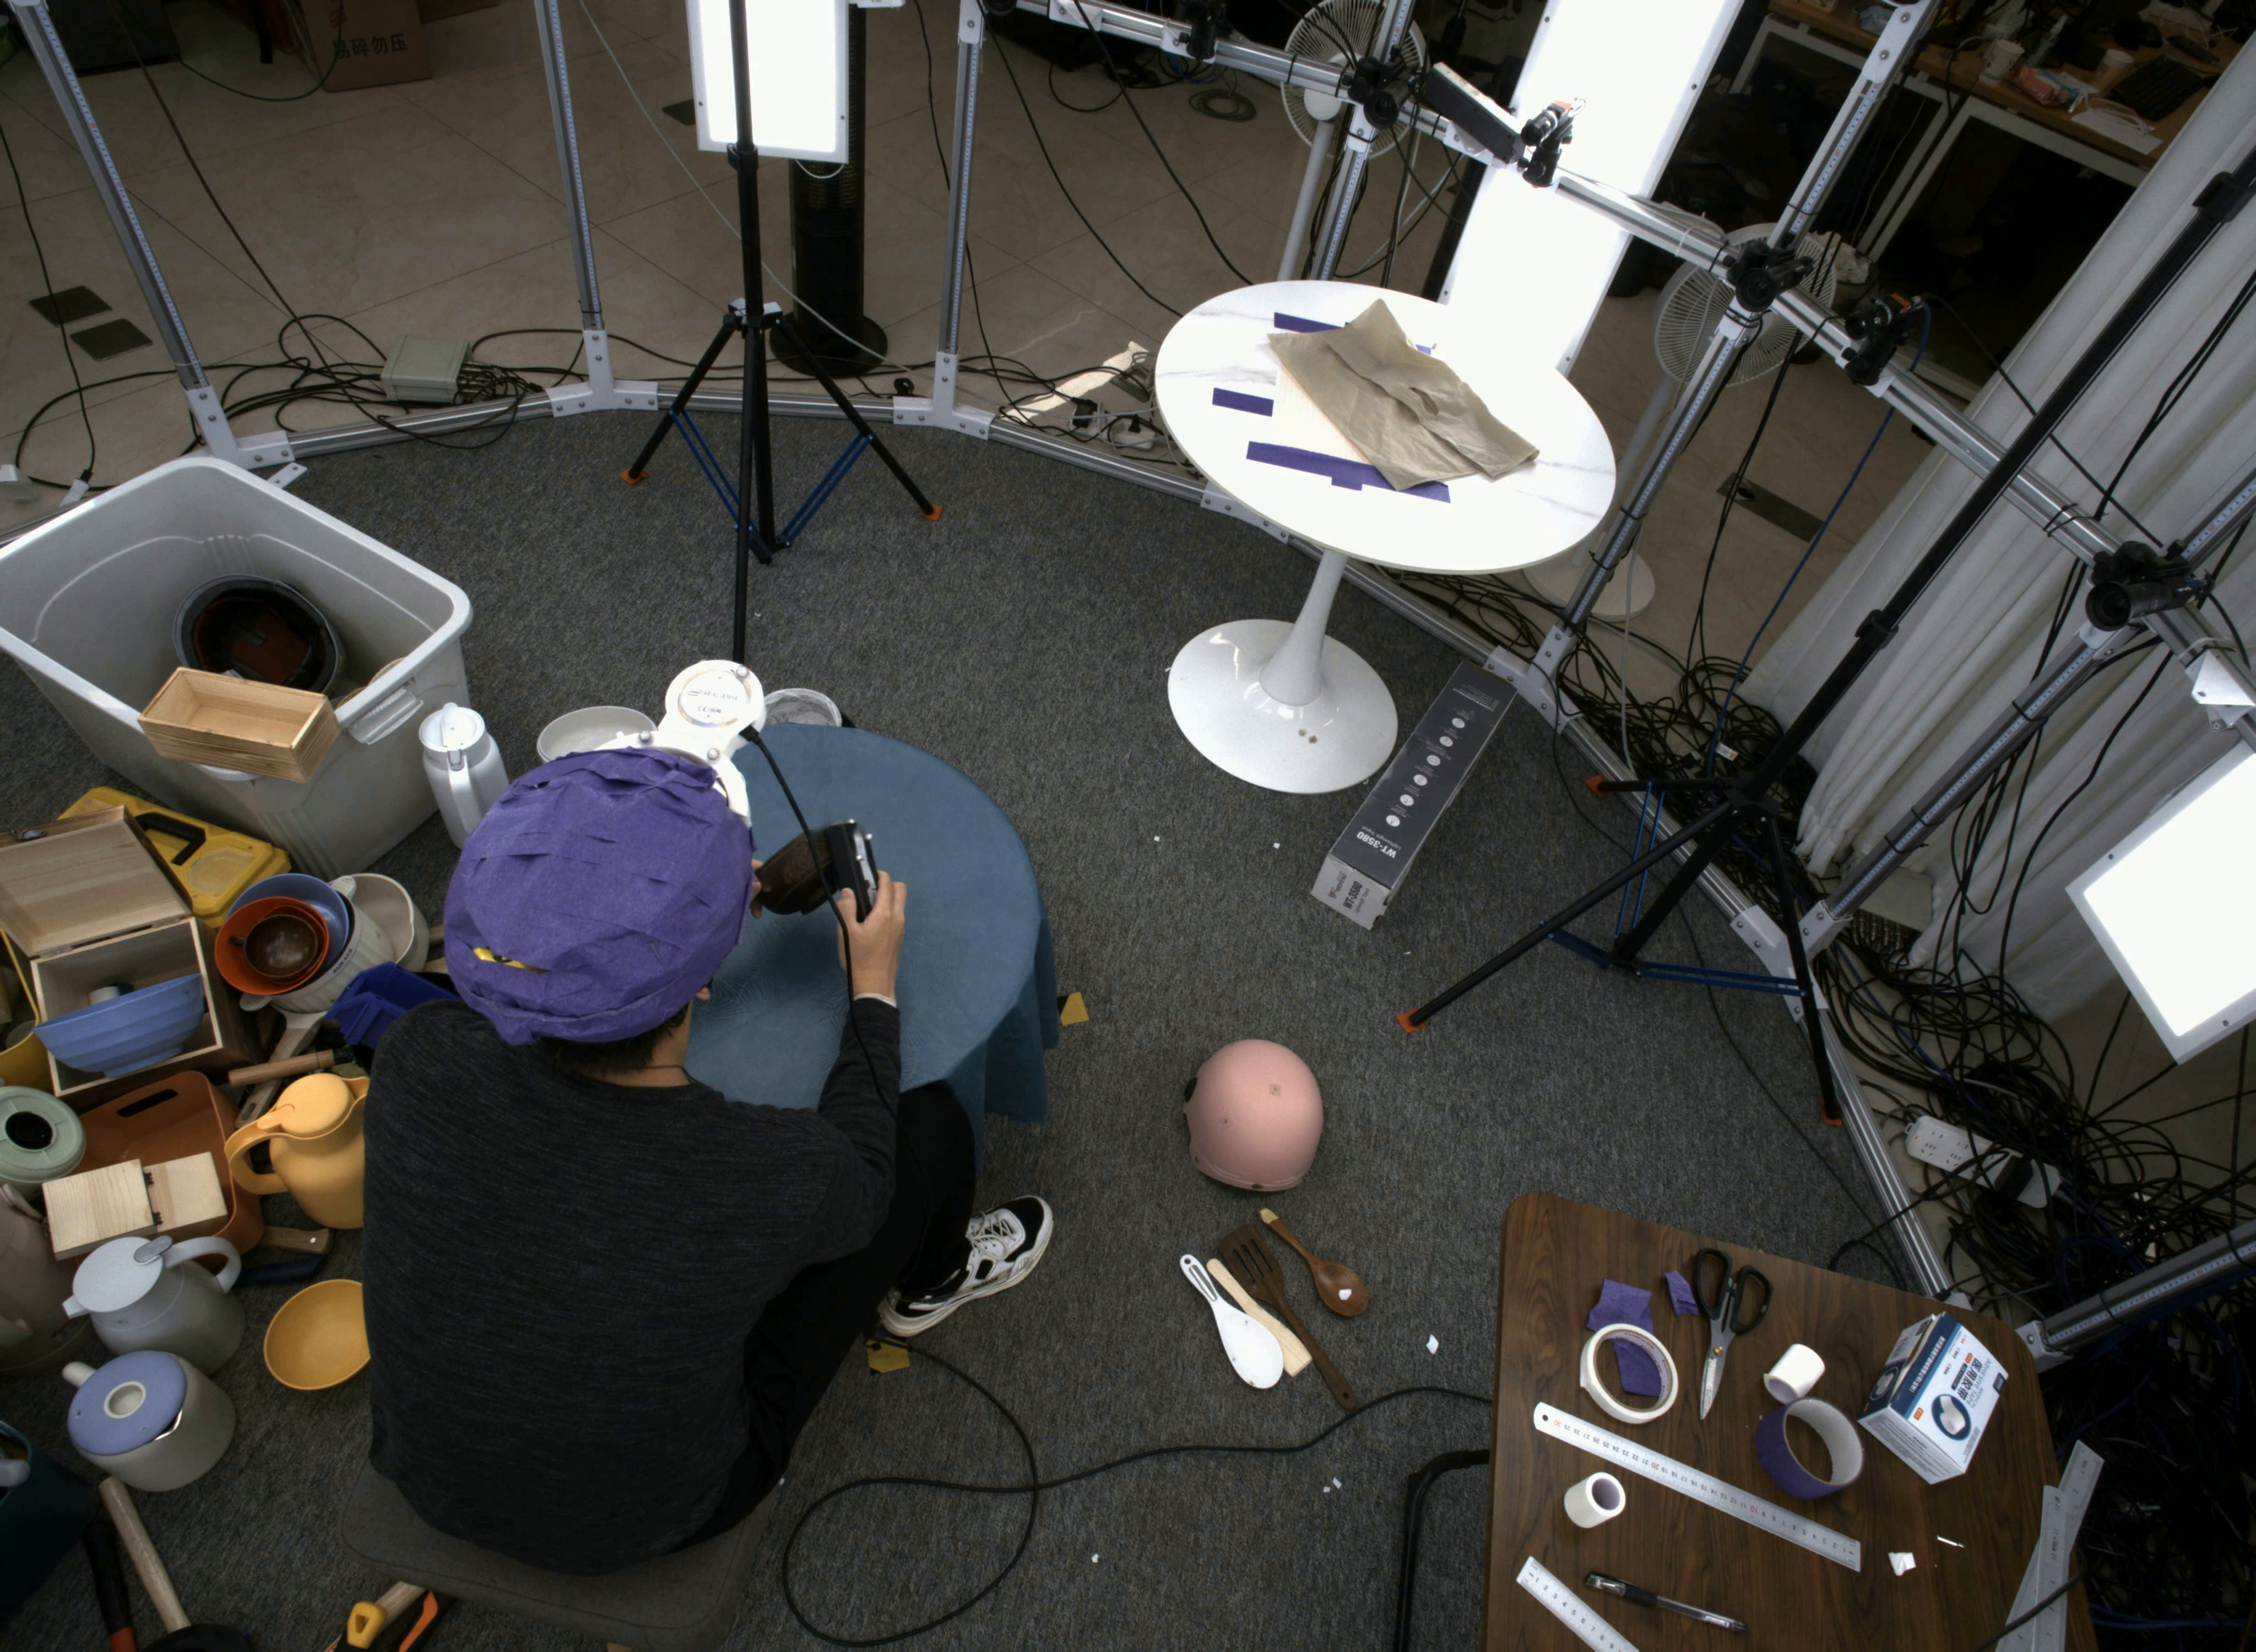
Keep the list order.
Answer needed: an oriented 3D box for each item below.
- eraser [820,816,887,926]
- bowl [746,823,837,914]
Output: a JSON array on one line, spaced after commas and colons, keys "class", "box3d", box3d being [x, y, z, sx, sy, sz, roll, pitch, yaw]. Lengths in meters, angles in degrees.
[{"class": "eraser", "box3d": [-0.324, 0.051, 1.532, 0.054, 0.030, 0.126, -13, 87, -66]}, {"class": "bowl", "box3d": [-0.389, 0.058, 1.547, 0.070, 0.118, 0.118, 47, 55, 2]}]
